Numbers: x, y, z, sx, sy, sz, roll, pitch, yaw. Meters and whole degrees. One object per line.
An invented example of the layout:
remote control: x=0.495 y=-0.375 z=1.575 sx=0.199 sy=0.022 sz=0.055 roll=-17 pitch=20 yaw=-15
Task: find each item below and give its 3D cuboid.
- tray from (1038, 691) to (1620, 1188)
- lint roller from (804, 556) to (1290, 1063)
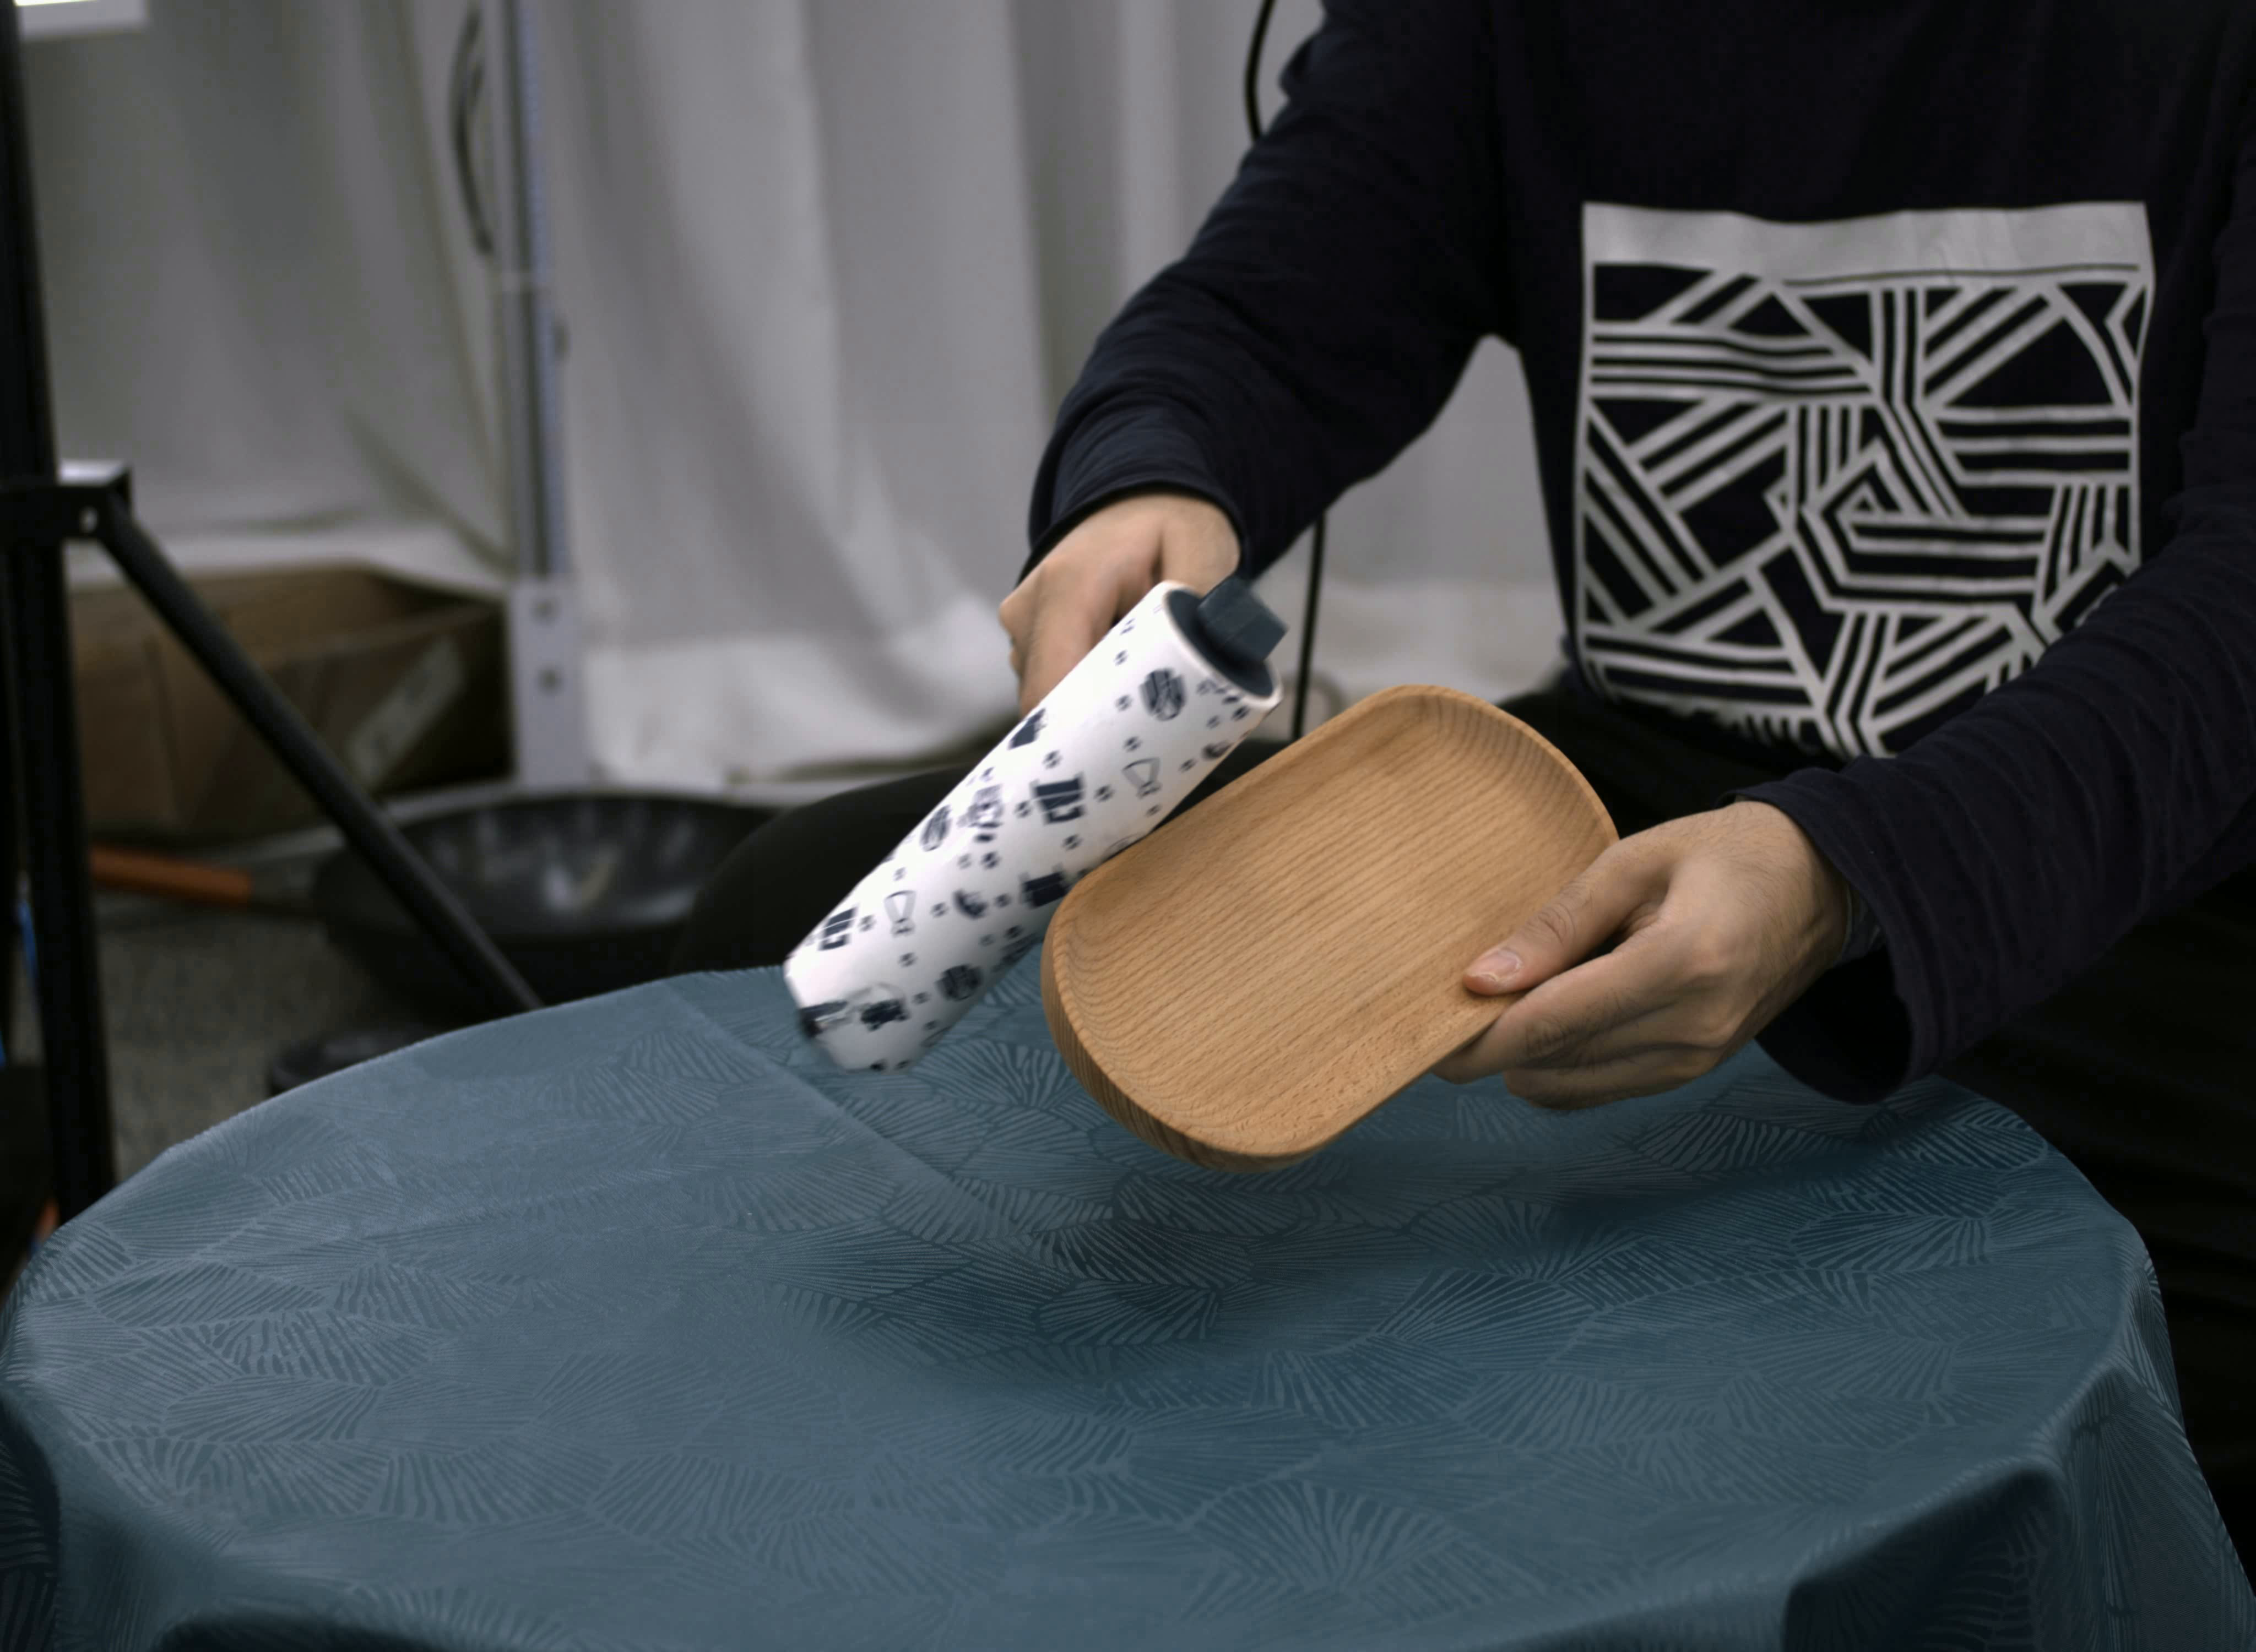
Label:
tray: x=0.059 y=0.031 z=1.501 sx=0.102 sy=0.020 sz=0.227 roll=45 pitch=45 yaw=12
lint roller: x=-0.004 y=-0.029 z=1.593 sx=0.050 sy=0.177 sz=0.245 roll=43 pitch=20 yaw=-2
